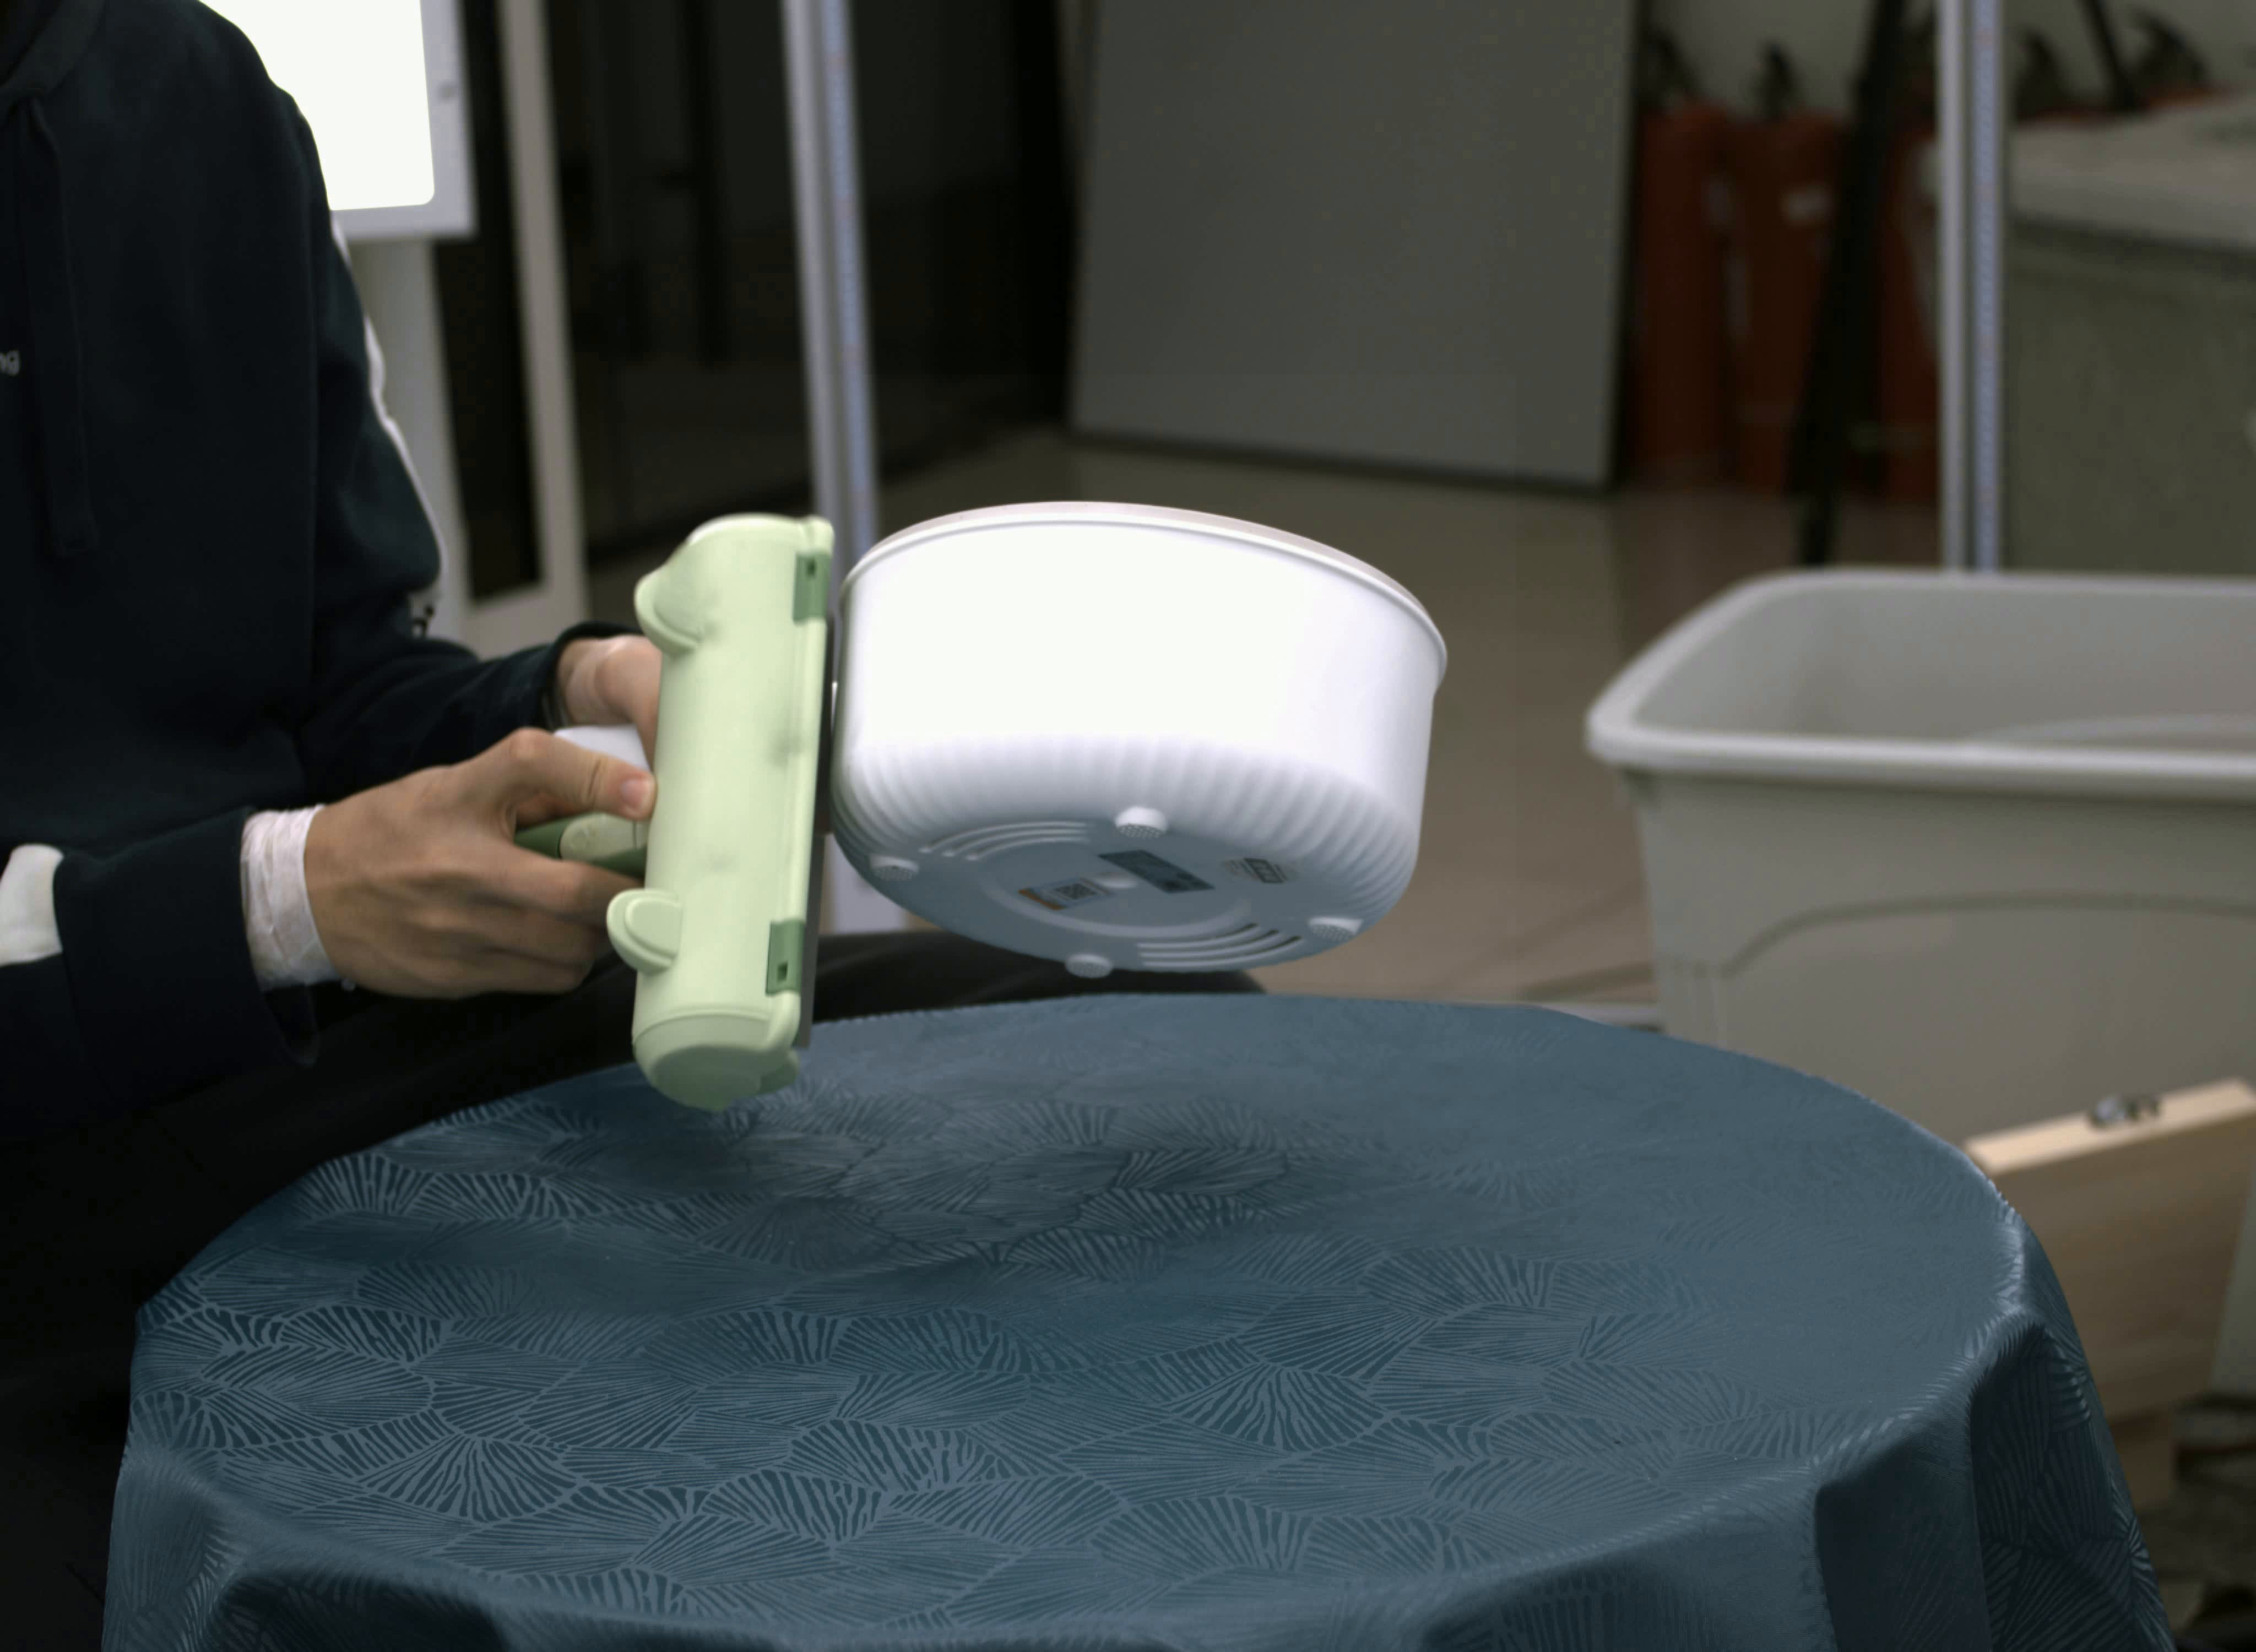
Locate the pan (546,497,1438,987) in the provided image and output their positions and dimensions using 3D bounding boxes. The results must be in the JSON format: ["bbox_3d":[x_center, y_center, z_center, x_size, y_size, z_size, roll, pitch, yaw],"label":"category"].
[{"bbox_3d":[-0.060,-0.008,1.798,0.357,0.103,0.197,-12,-26,38],"label":"pan"}]

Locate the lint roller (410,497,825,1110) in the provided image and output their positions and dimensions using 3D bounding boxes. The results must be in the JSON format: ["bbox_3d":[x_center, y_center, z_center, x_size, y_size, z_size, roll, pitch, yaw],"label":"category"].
[{"bbox_3d":[-0.176,0.000,1.749,0.184,0.201,0.081,-15,-32,28],"label":"lint roller"}]
